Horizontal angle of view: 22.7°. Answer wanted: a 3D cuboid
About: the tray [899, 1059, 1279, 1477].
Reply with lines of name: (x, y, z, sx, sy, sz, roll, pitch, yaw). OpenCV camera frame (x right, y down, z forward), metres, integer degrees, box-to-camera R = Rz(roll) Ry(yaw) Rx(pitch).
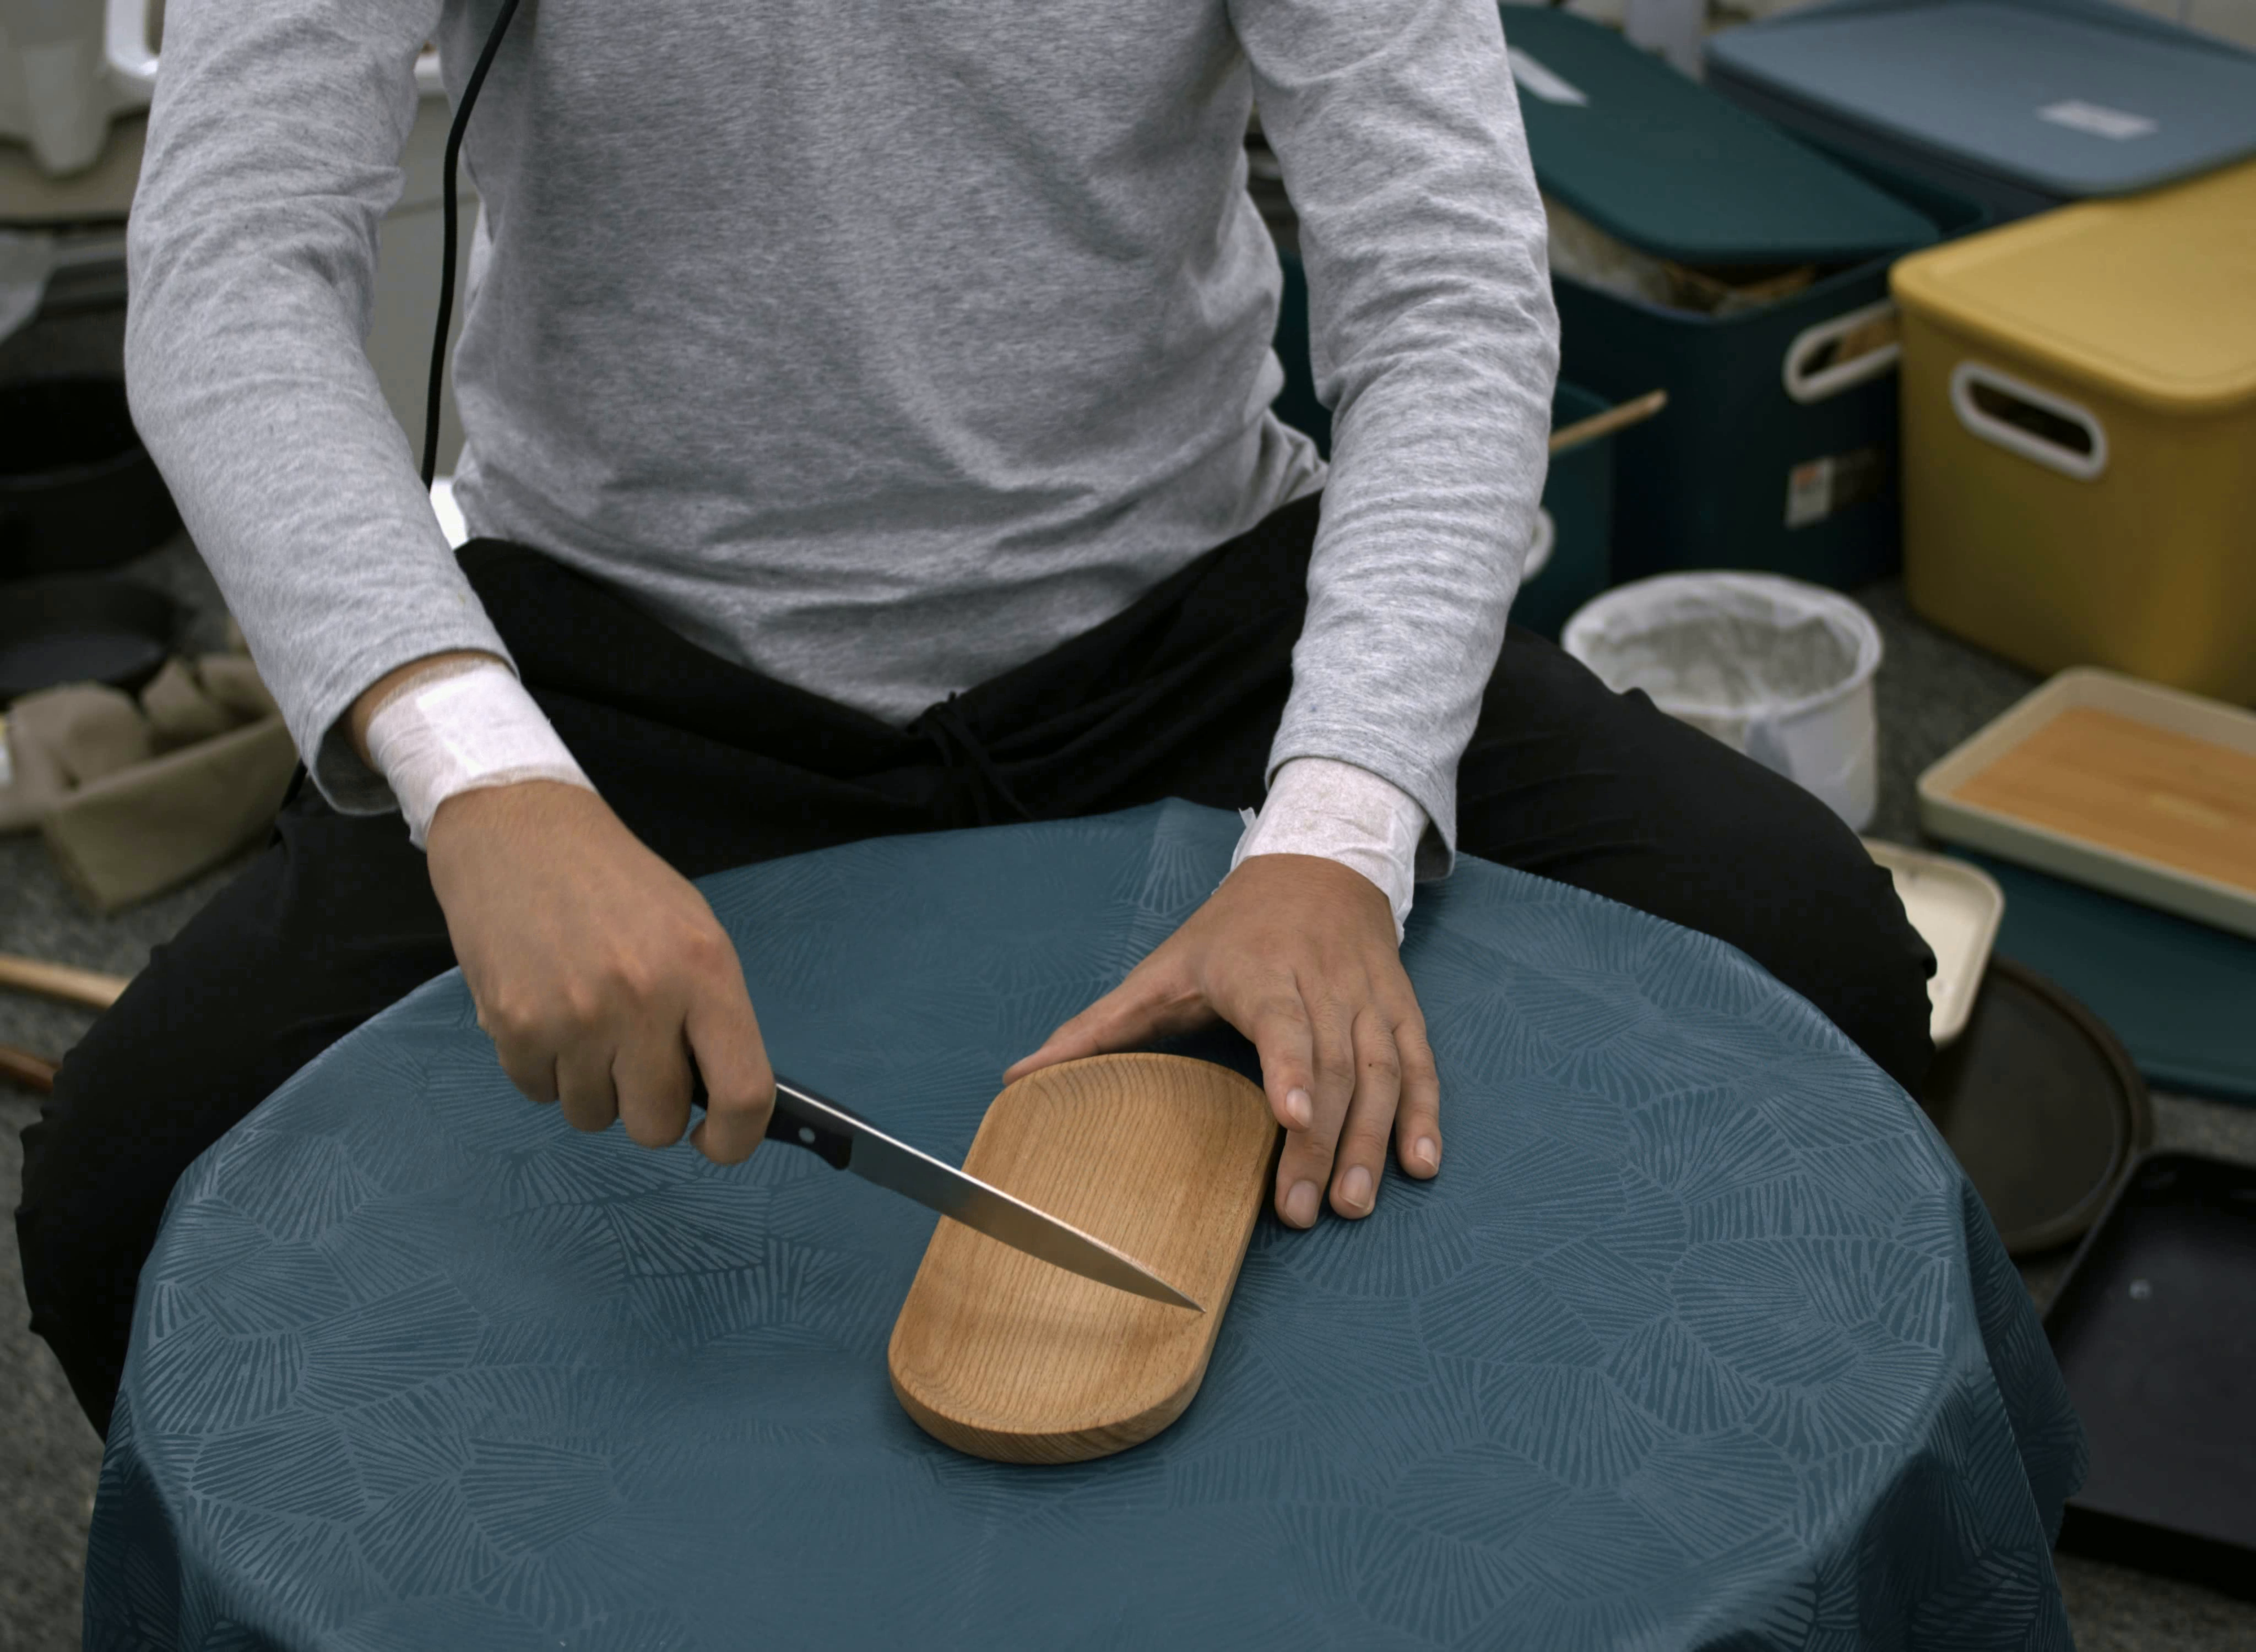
tray: (-0.010, 0.140, 1.811, 0.101, 0.020, 0.235, 0, 29, 10)

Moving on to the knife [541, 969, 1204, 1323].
knife: (-0.080, 0.102, 1.784, 0.237, 0.024, 0.016, 26, 39, 9)
